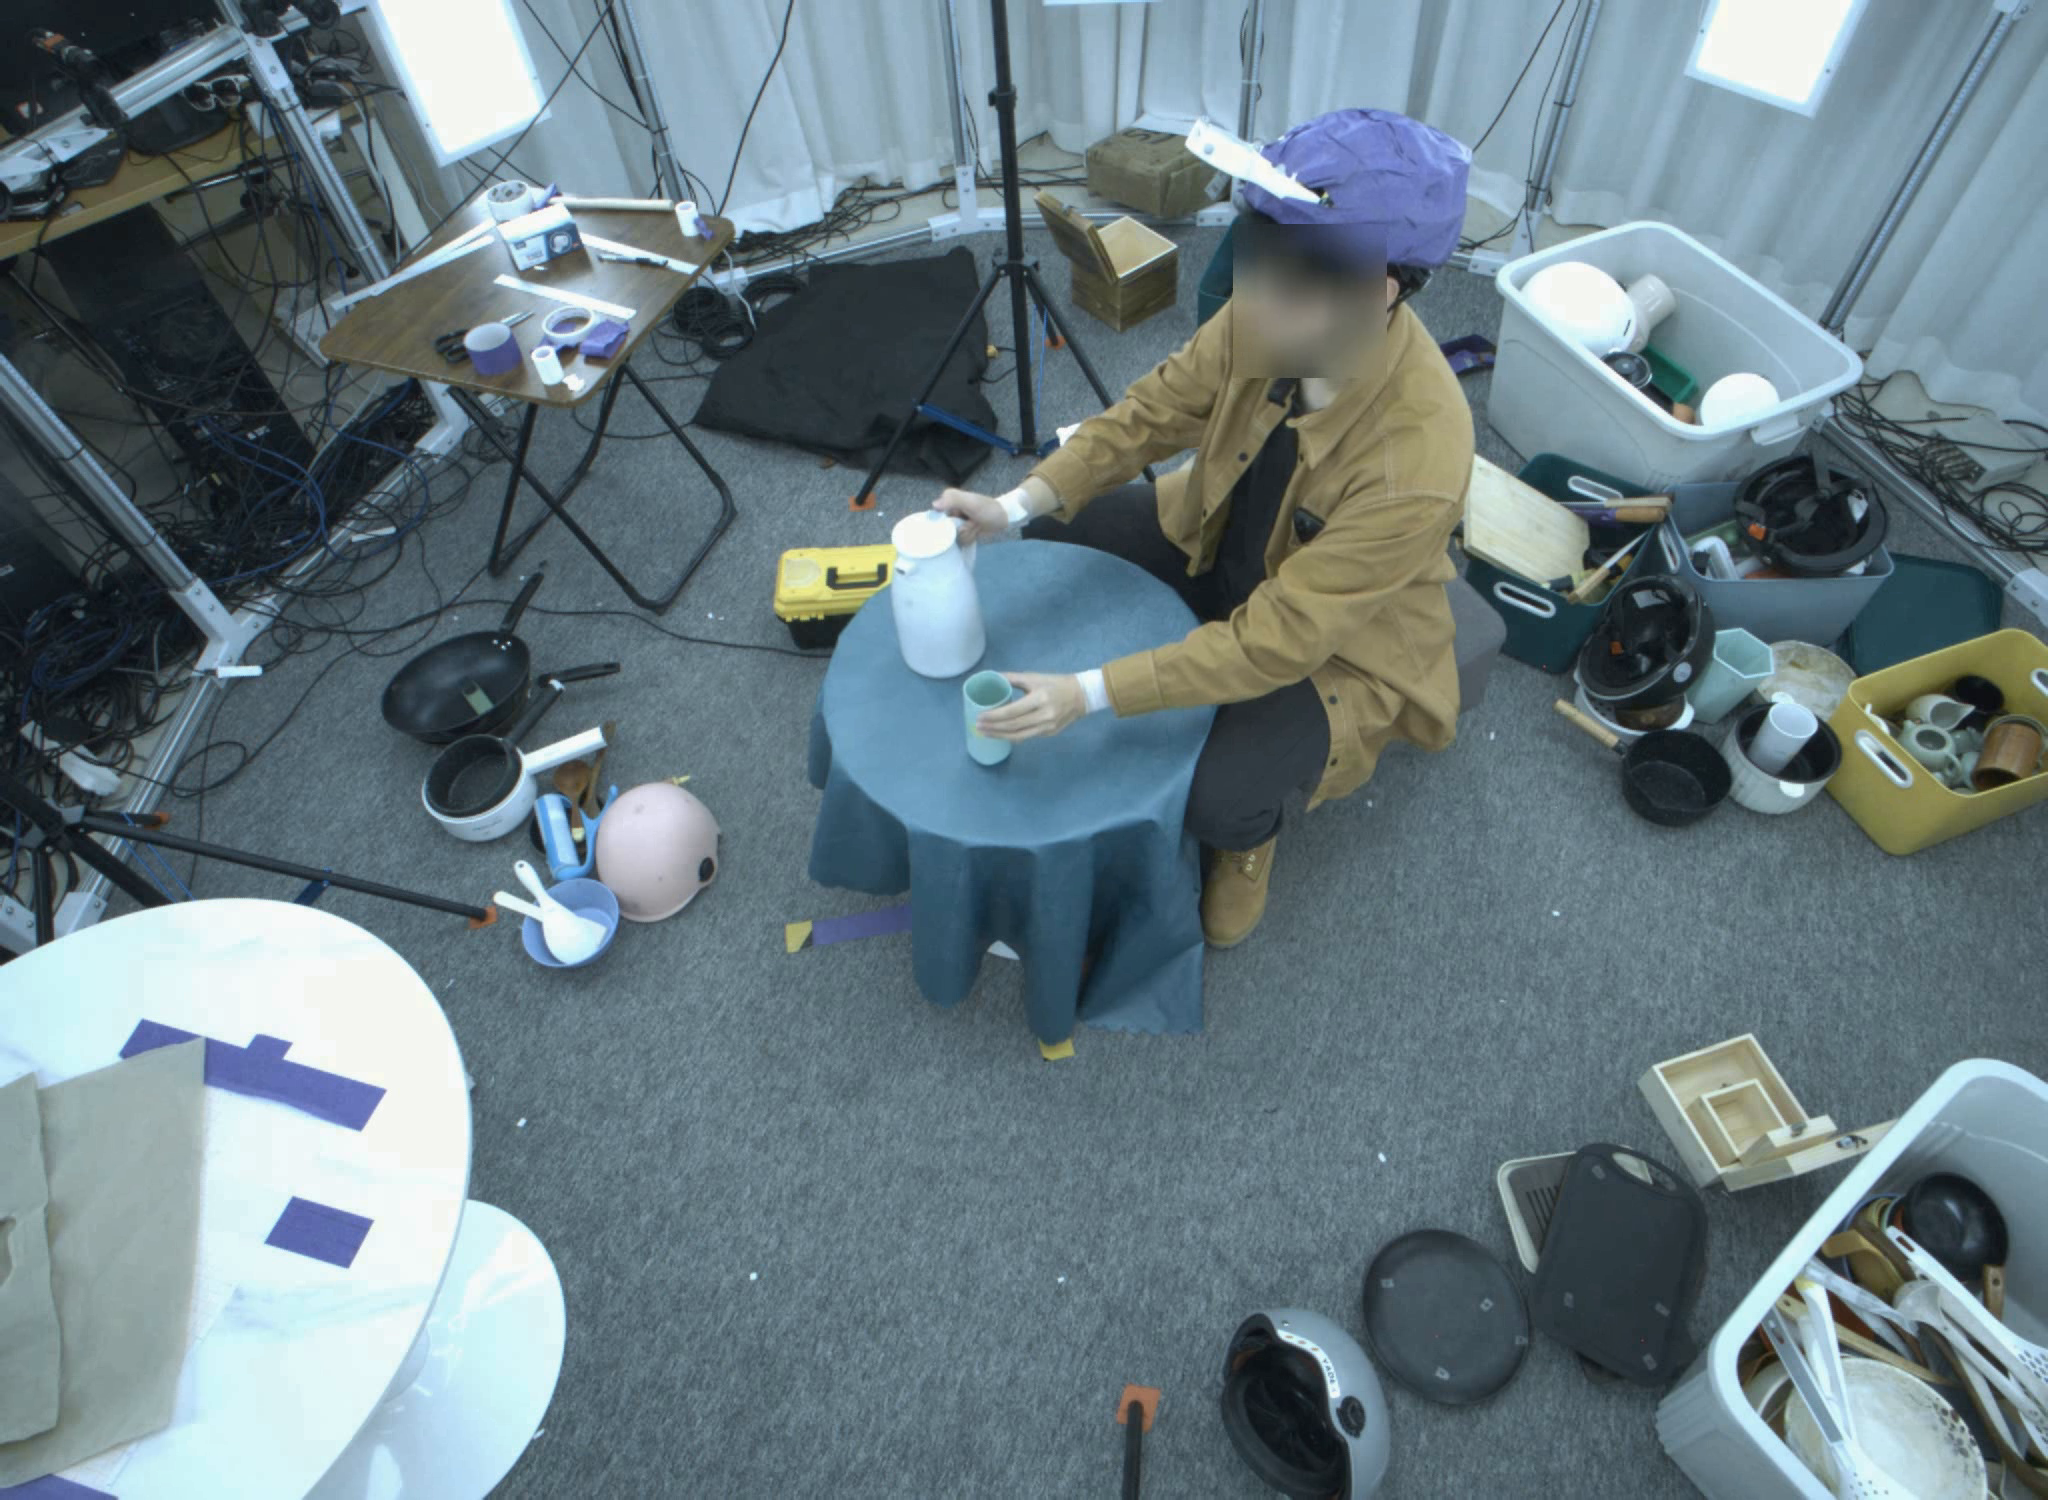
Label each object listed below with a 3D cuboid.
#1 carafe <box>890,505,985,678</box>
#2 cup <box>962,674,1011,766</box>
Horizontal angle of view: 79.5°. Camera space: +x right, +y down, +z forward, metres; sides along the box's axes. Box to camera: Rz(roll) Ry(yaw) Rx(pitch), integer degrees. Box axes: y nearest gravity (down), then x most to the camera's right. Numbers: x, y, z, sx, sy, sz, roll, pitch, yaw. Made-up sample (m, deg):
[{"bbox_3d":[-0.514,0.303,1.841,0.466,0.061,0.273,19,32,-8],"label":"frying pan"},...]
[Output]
[{"bbox_3d":[-0.126,-0.248,1.810,0.130,0.251,0.168,23,59,20],"label":"carafe"},{"bbox_3d":[-0.050,-0.042,1.725,0.067,0.133,0.066,1,54,0],"label":"cup"}]
